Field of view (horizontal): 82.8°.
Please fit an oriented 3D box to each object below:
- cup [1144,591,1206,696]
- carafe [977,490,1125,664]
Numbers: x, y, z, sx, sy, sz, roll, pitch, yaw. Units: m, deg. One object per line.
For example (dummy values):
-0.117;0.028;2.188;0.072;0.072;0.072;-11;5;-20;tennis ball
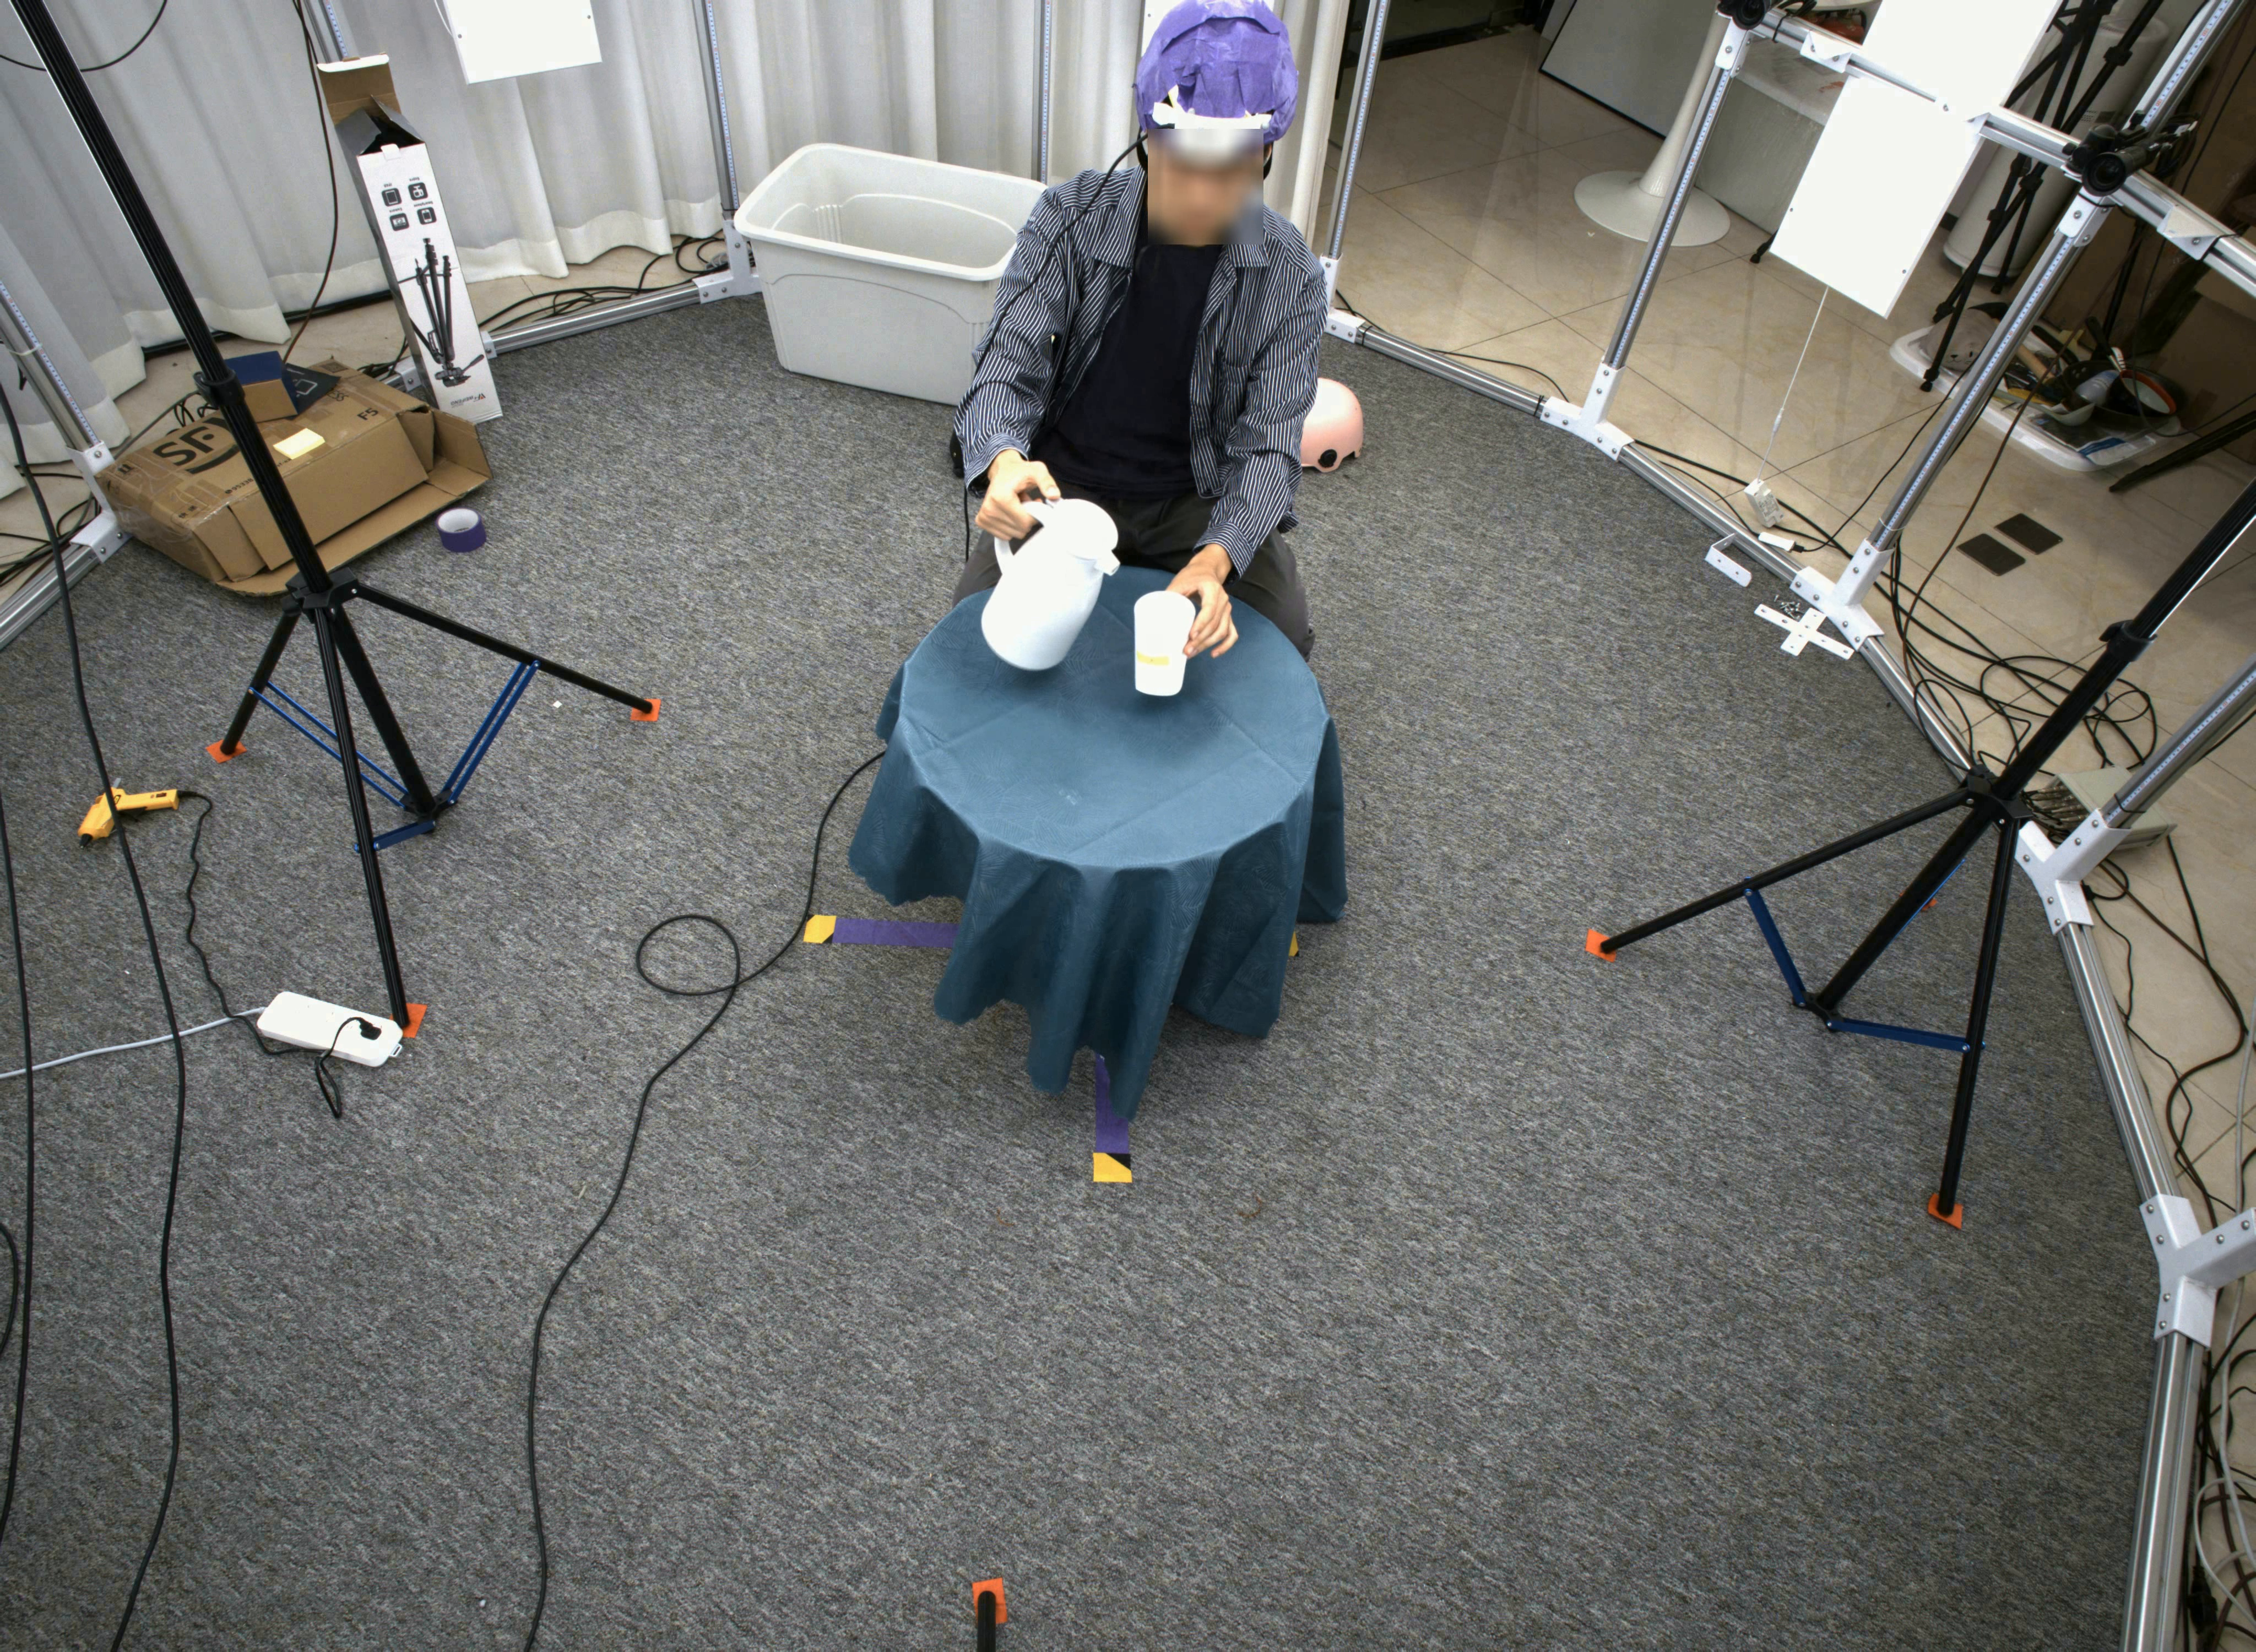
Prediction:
0.059;-0.244;1.739;0.081;0.122;0.084;2;47;-2;cup
-0.113;-0.341;1.699;0.167;0.245;0.135;39;56;-5;carafe
